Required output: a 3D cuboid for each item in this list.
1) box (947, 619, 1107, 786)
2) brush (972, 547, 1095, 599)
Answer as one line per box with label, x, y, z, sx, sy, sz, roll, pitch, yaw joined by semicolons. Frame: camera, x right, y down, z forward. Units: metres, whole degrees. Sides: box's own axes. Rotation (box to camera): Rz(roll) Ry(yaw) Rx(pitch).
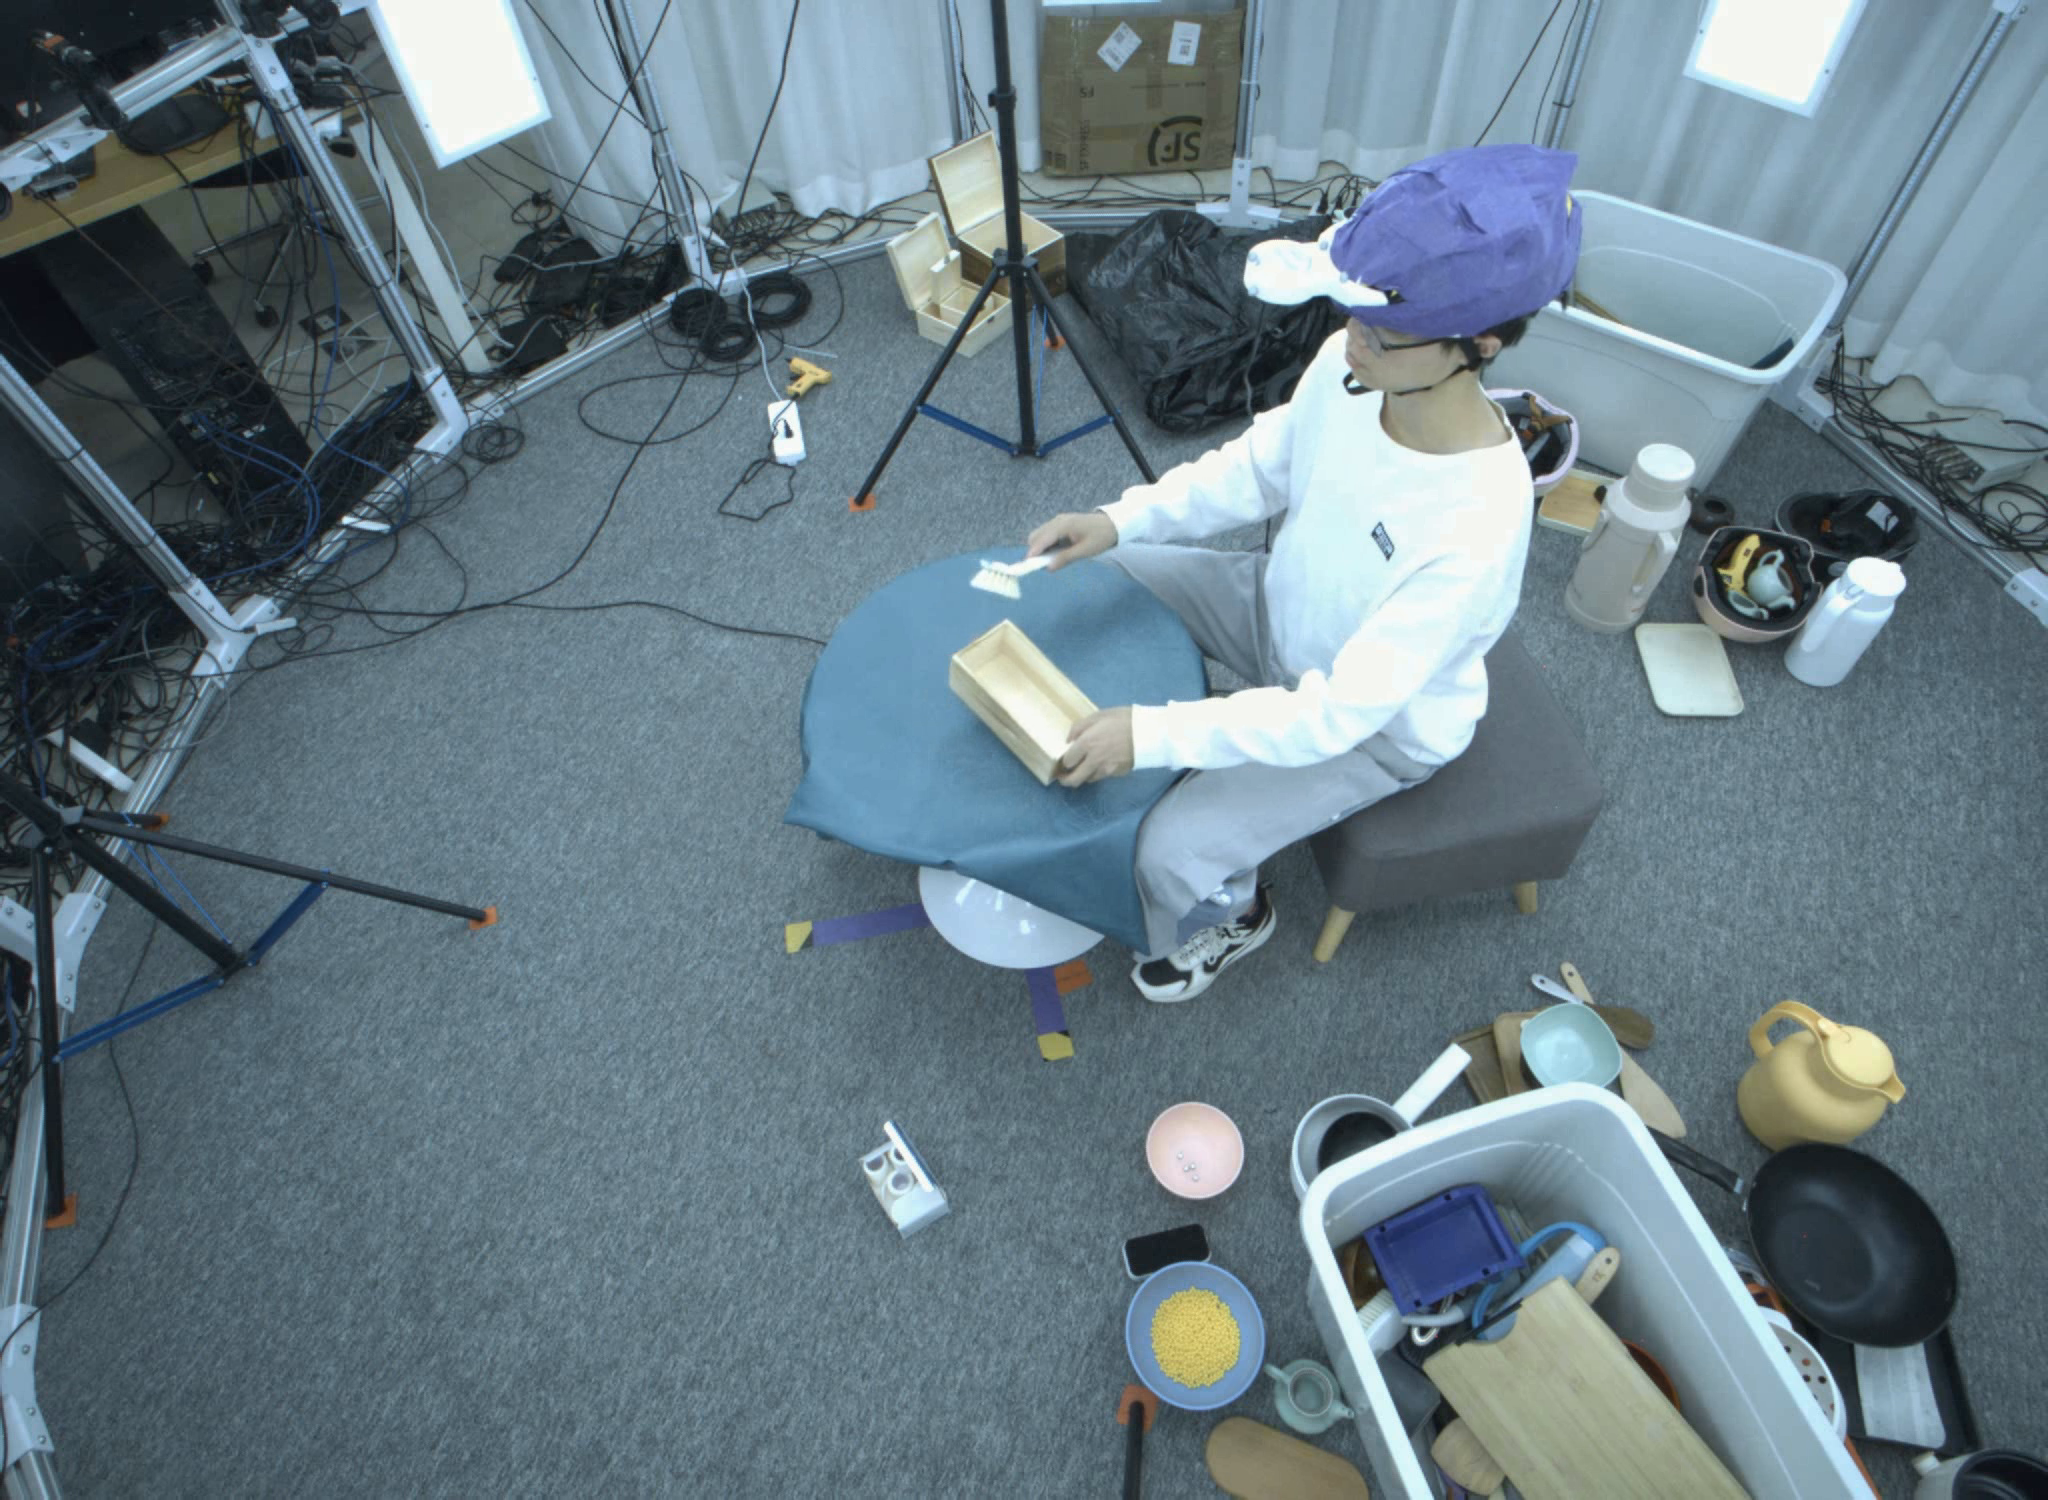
box;0.001;-0.068;1.731;0.108;0.080;0.209;-39;74;-25
brush;0.021;-0.267;1.824;0.067;0.056;0.271;35;28;24
